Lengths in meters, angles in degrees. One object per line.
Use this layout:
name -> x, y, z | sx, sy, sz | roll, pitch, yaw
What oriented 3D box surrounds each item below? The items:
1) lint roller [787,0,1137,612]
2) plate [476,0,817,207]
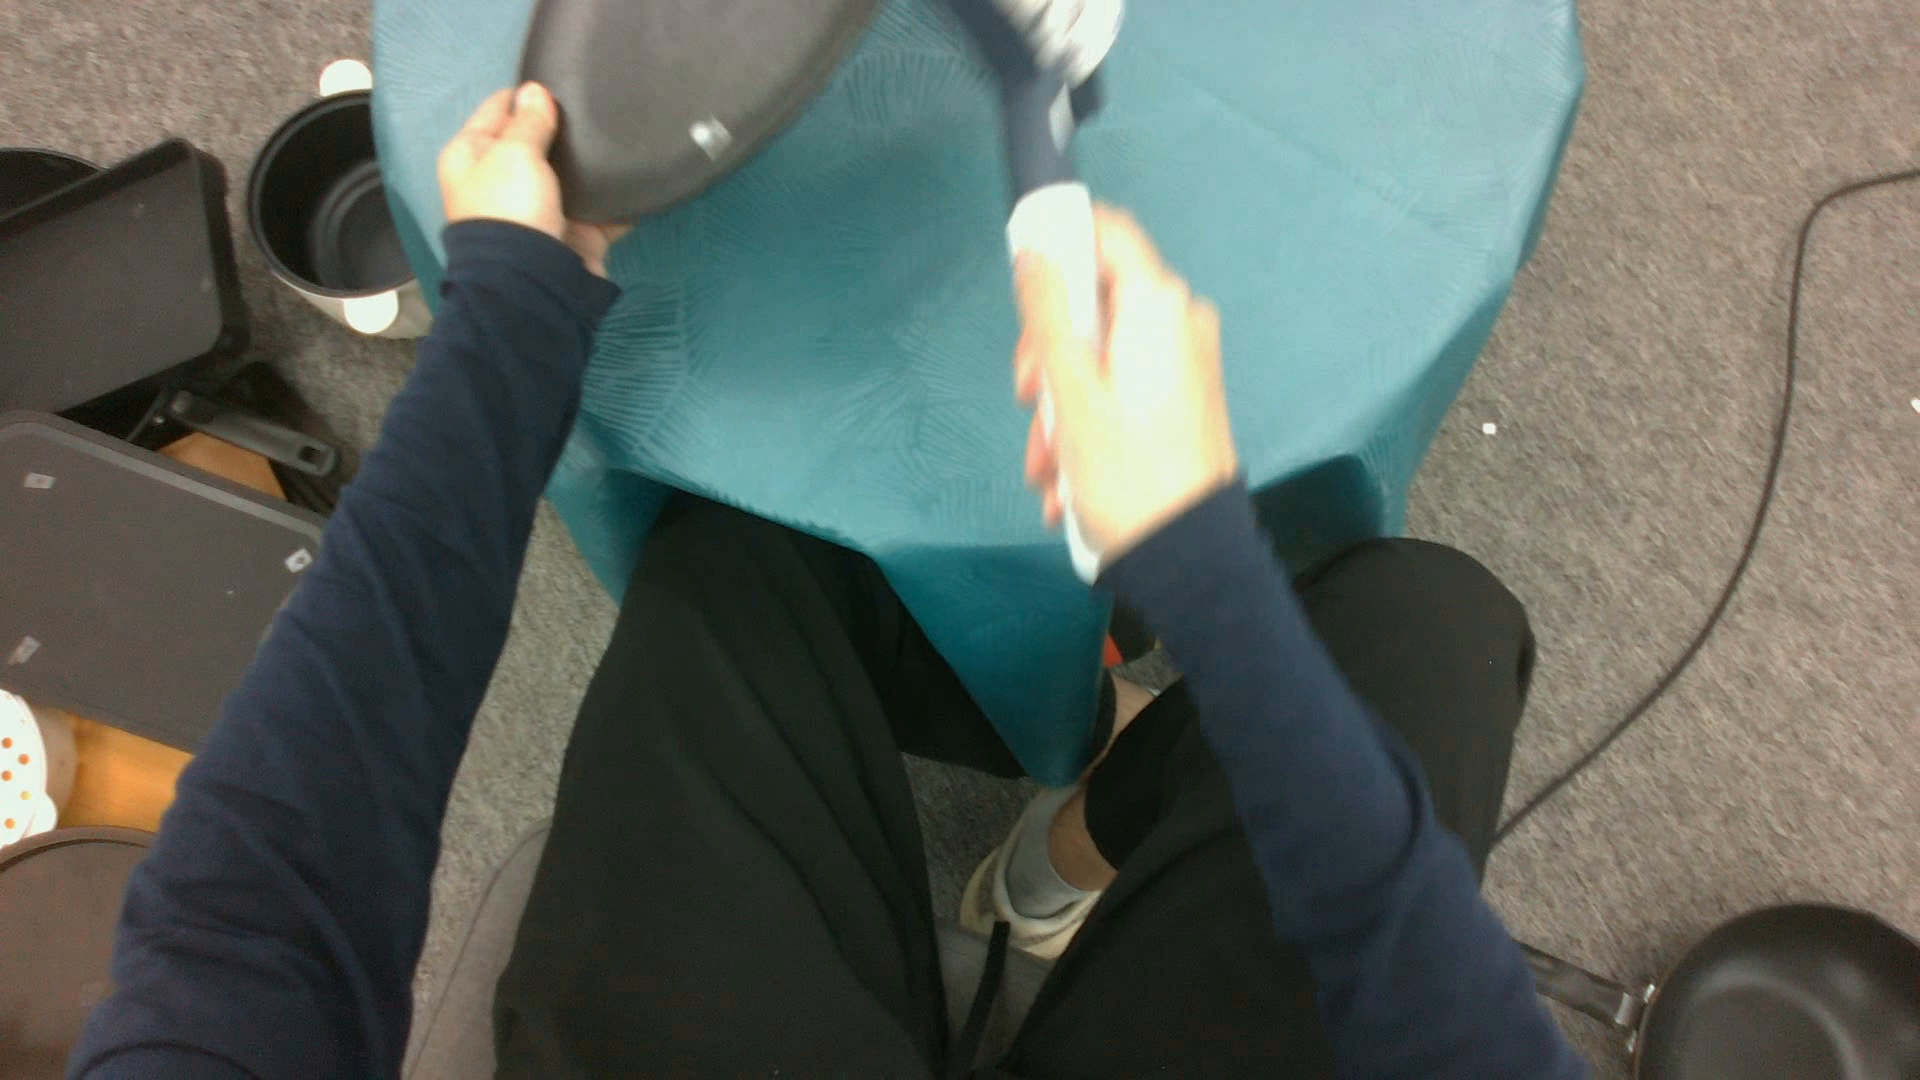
lint roller -> 0.023, -0.095, 0.511 | 0.050, 0.176, 0.247 | -22, 83, 21
plate -> -0.118, -0.248, 0.574 | 0.243, 0.023, 0.245 | -14, 65, 34
